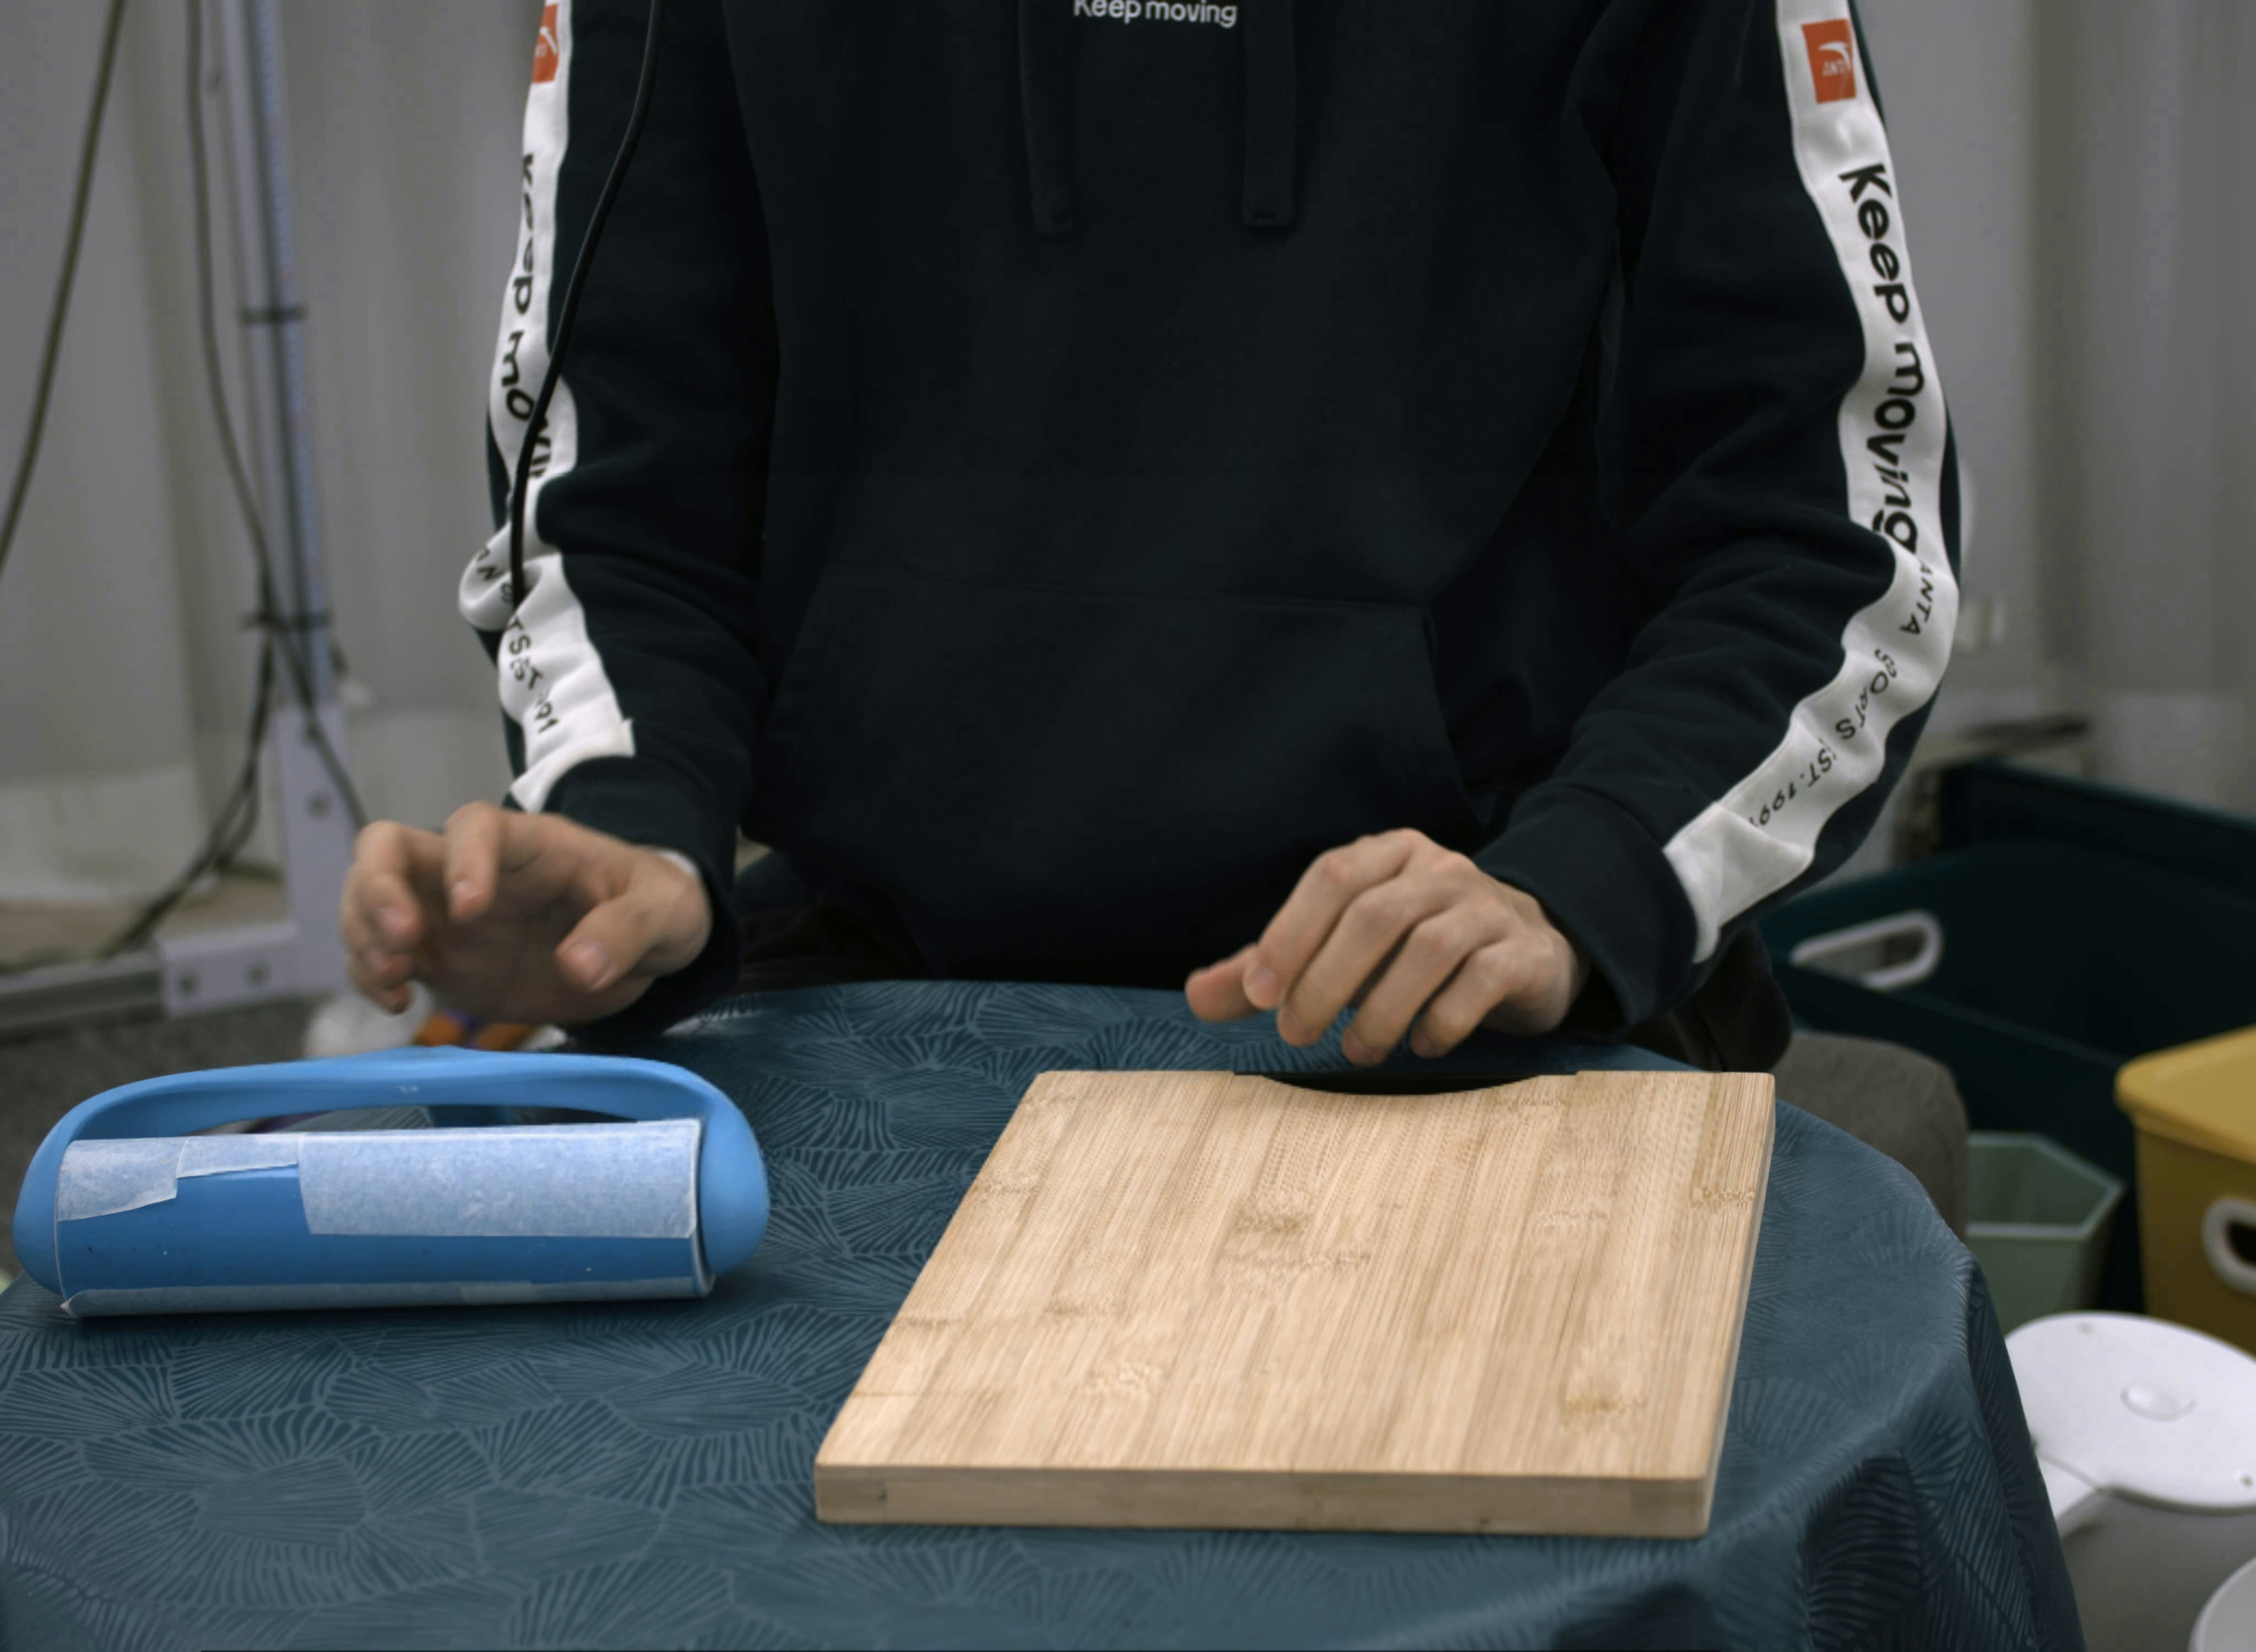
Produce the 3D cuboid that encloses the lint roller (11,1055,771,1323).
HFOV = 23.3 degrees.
[{"bbox_3d":[-0.221,0.102,1.697,0.228,0.067,0.181,-4,16,1],"label":"lint roller"}]

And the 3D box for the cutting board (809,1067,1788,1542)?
[{"bbox_3d":[0.062,0.133,1.603,0.250,0.023,0.350,0,15,9],"label":"cutting board"}]
